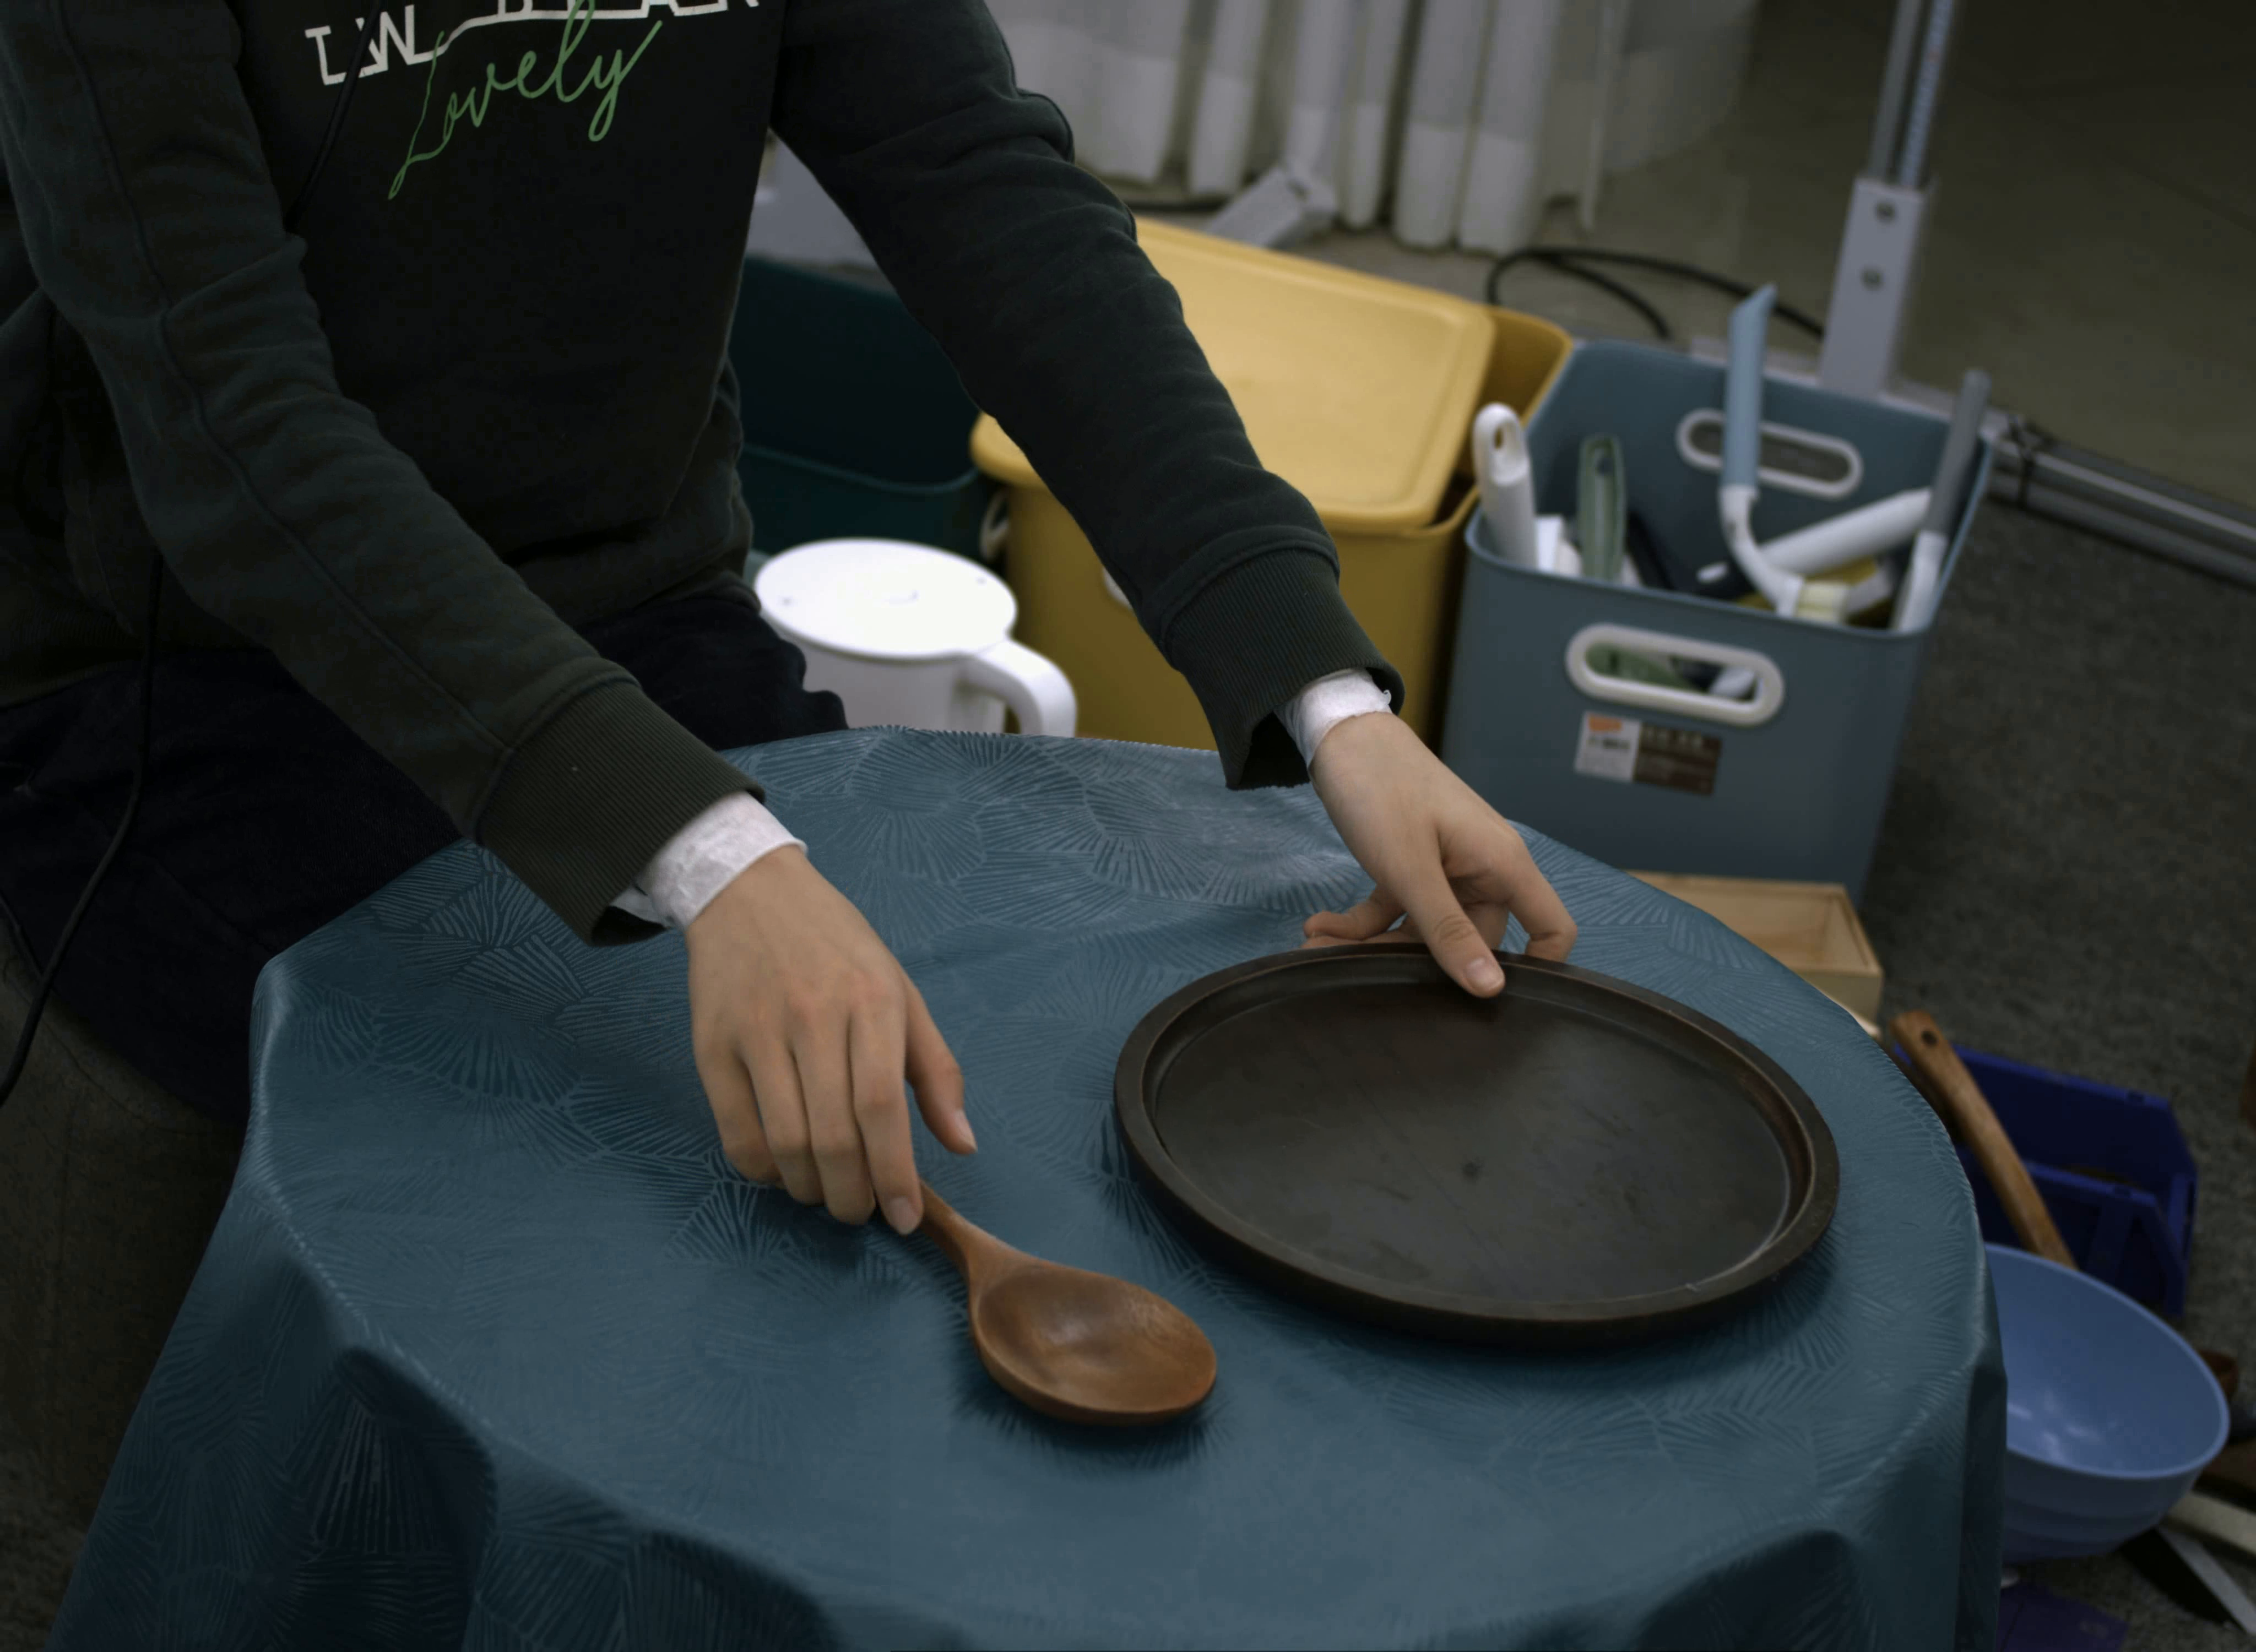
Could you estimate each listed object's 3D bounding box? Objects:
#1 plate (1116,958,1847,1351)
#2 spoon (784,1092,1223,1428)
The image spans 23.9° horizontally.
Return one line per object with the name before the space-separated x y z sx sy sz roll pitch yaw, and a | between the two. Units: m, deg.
plate | 0.120 0.110 1.829 0.254 0.029 0.256 6 26 -3
spoon | -0.048 0.142 1.735 0.075 0.017 0.218 -13 33 -33
